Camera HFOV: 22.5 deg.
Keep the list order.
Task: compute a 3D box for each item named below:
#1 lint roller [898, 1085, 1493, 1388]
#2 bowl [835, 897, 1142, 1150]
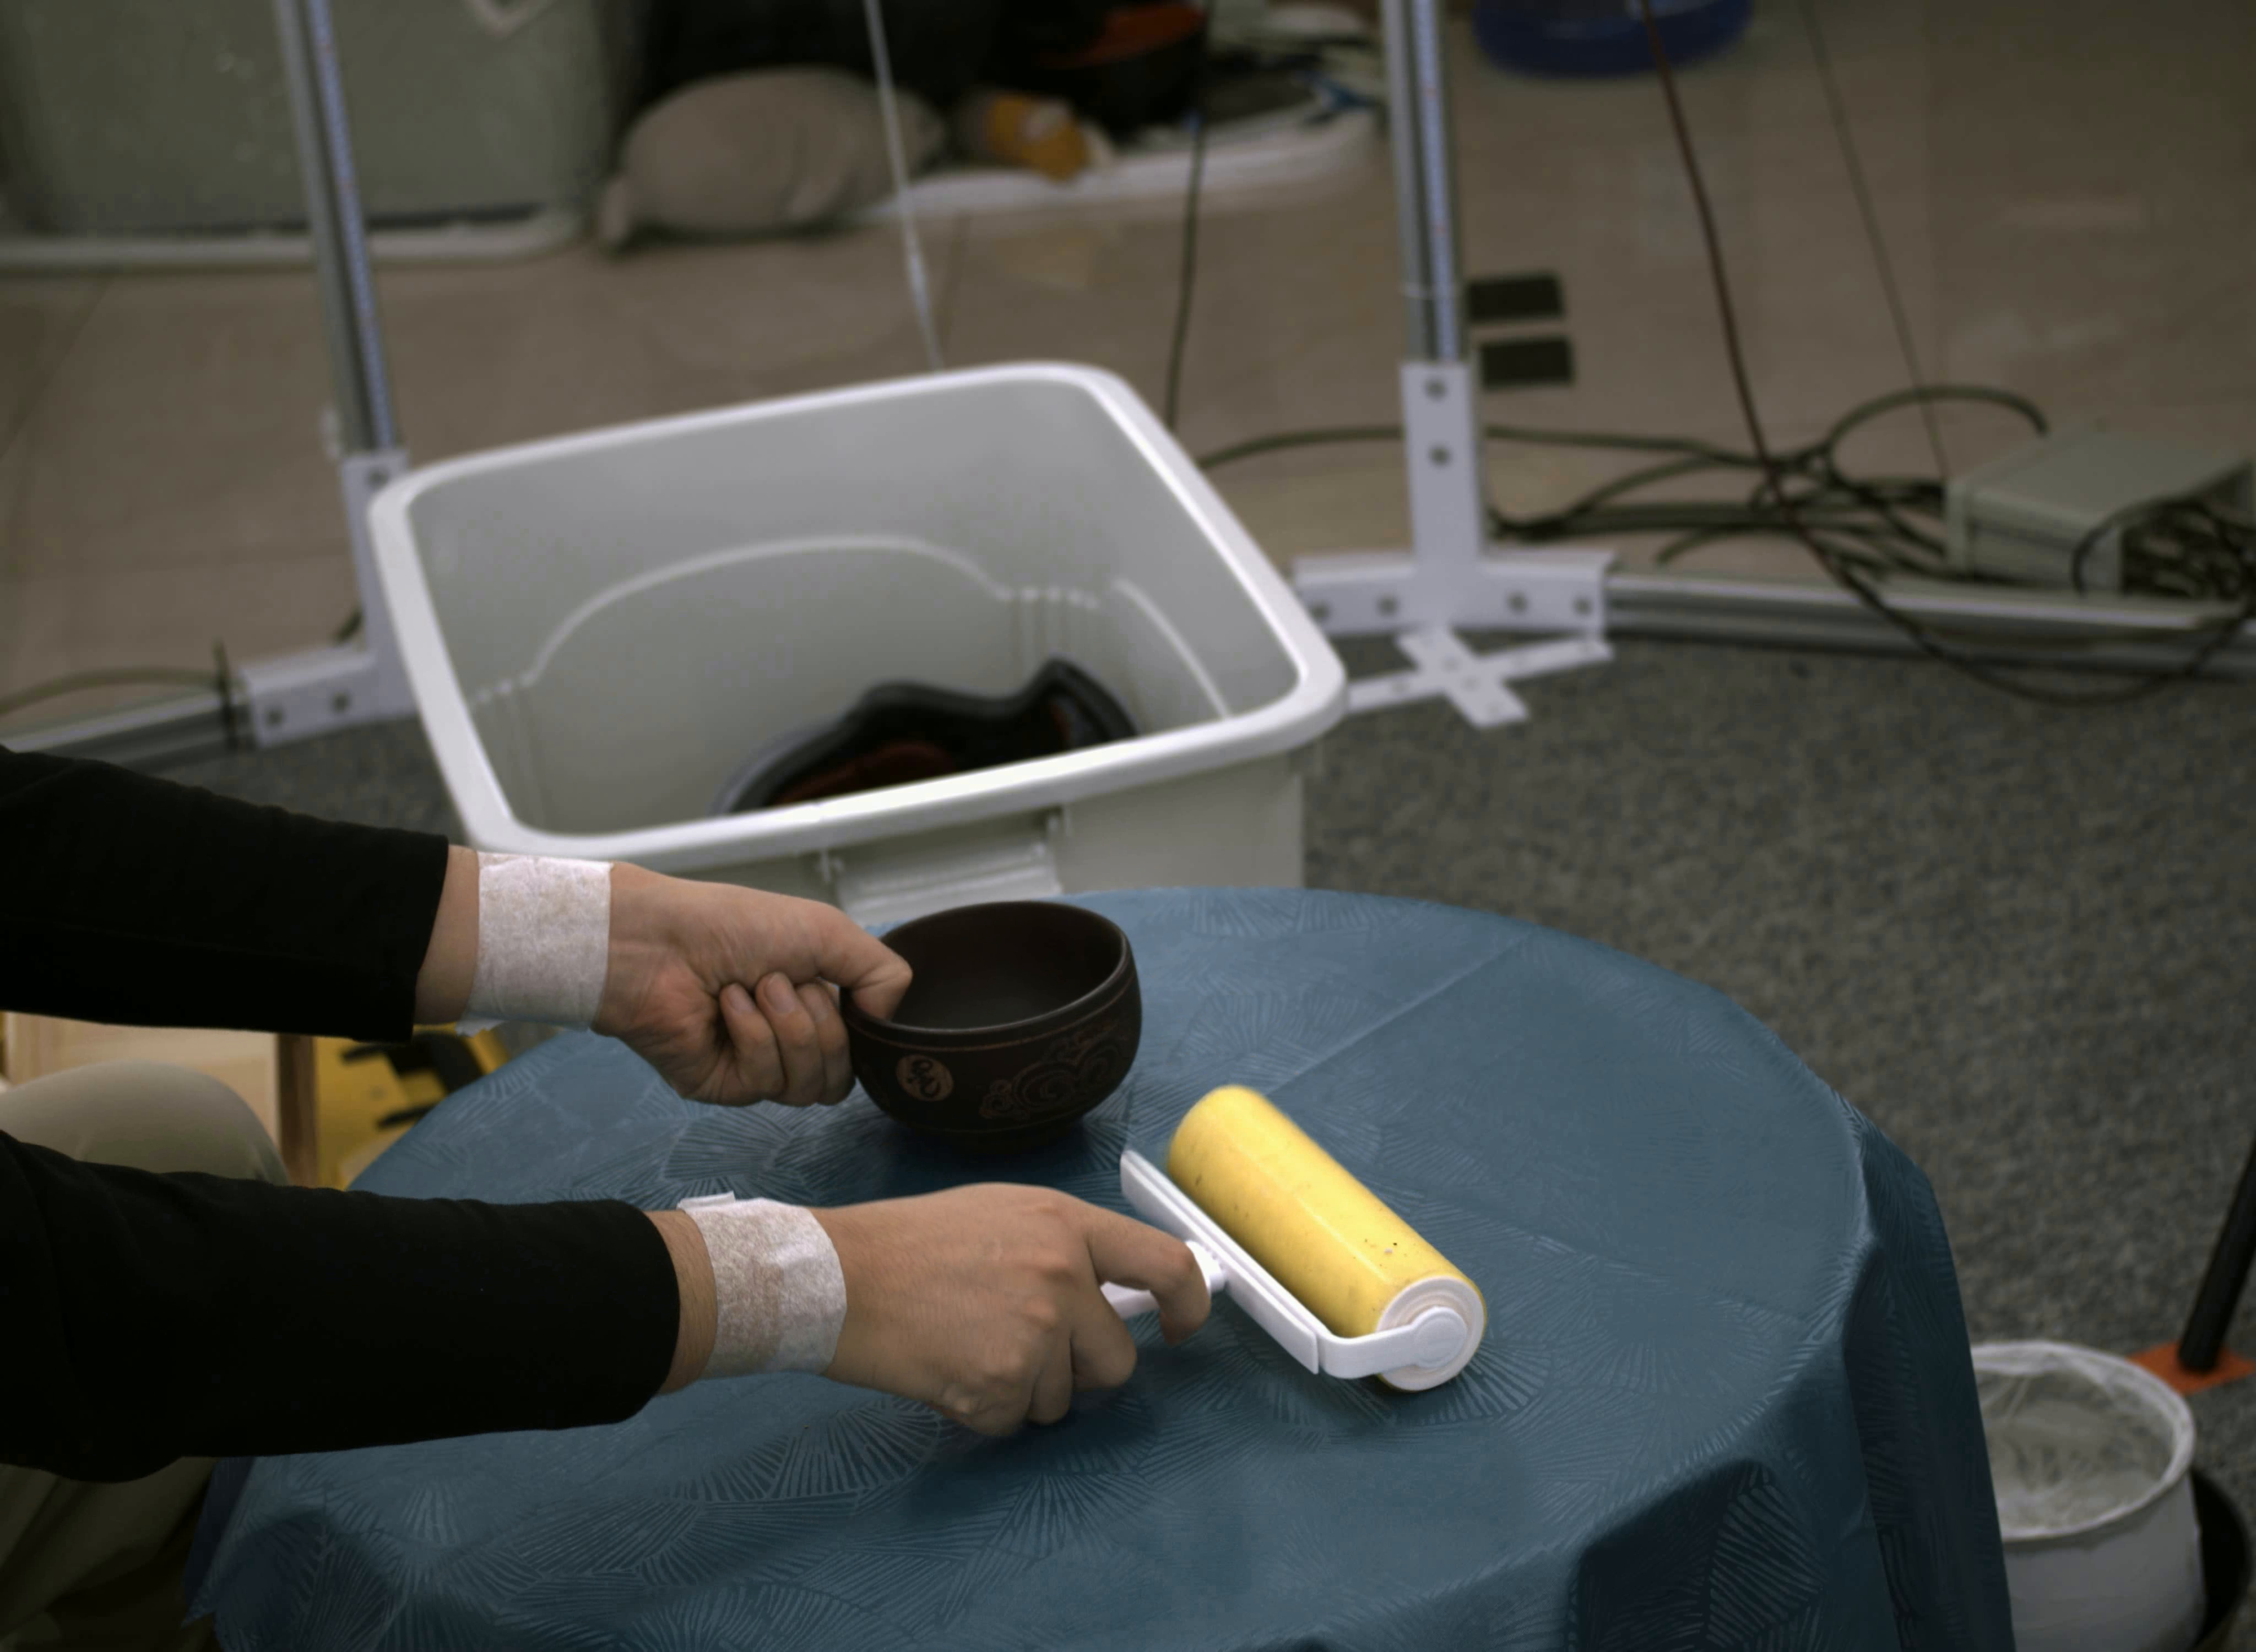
[{"bbox_3d":[0.008,0.154,2.014,0.191,0.052,0.172,-5,25,-29],"label":"lint roller"},{"bbox_3d":[-0.052,0.082,2.192,0.118,0.071,0.116,-6,24,3],"label":"bowl"}]
